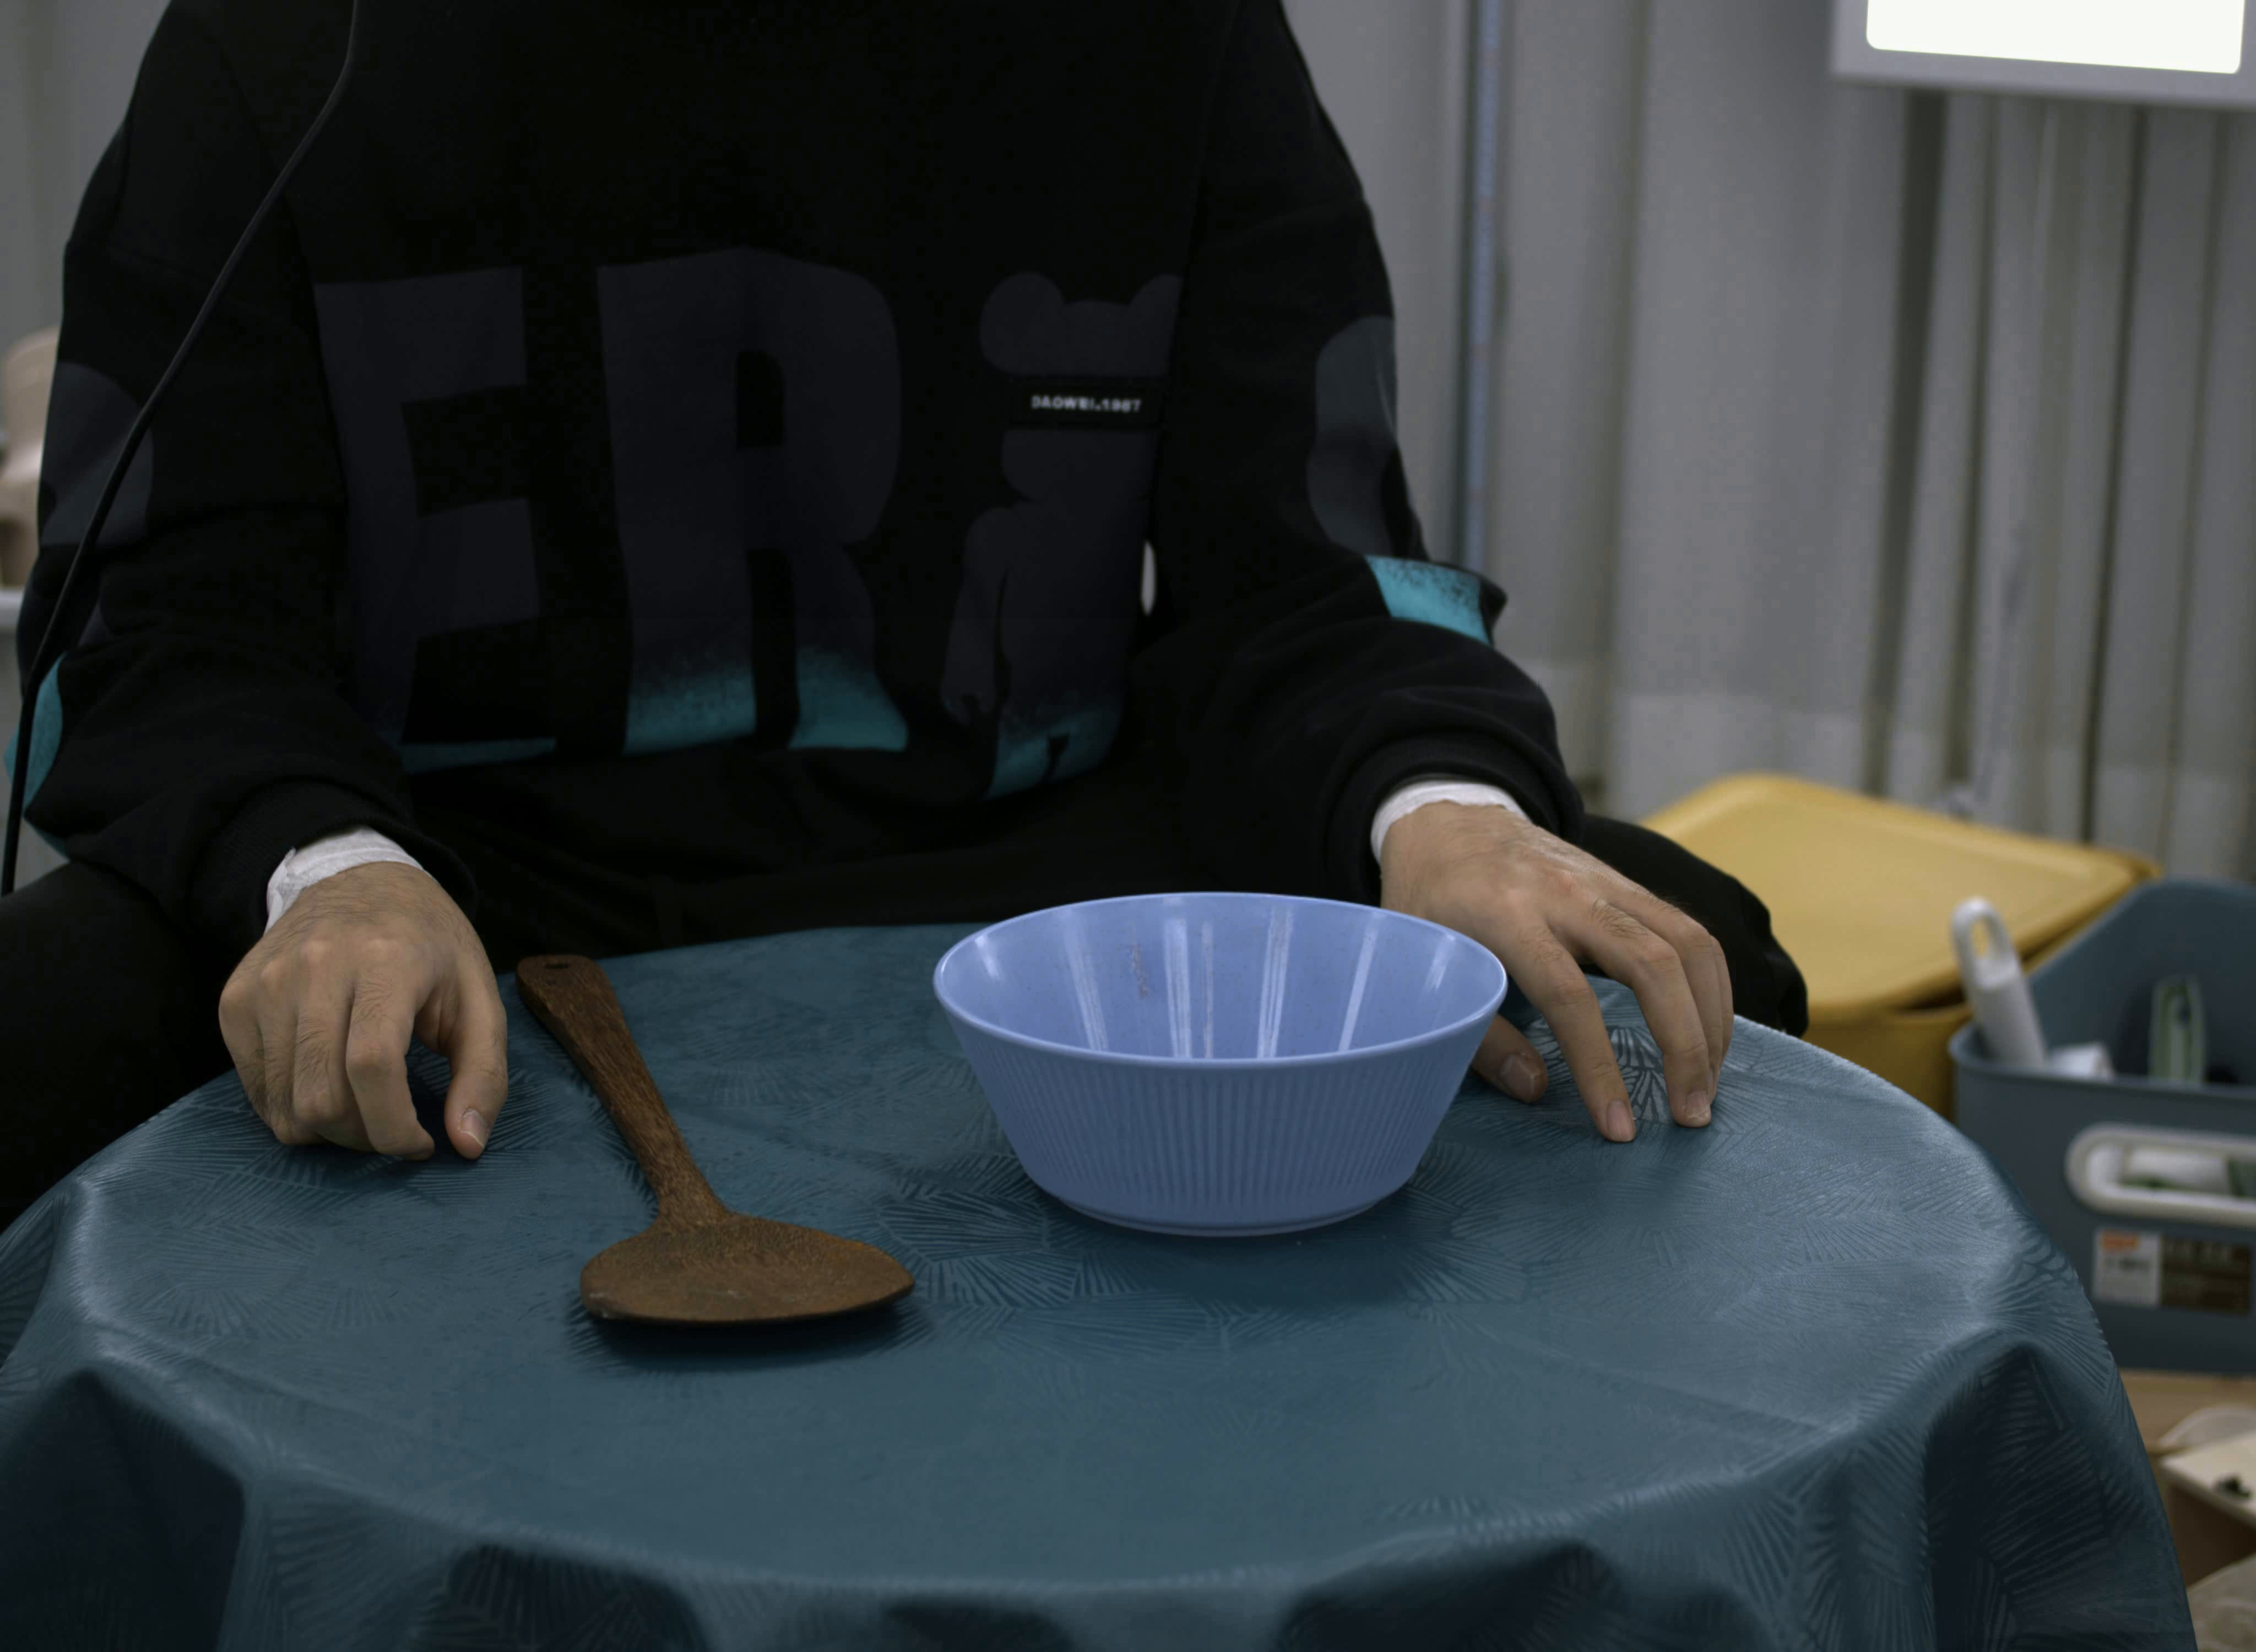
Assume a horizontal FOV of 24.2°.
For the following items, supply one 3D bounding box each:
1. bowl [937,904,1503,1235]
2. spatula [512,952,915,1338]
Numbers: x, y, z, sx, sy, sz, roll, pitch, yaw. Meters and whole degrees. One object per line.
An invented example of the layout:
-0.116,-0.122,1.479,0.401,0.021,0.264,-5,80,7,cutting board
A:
0.028,0.077,1.626,0.175,0.071,0.175,1,14,0,bowl
-0.152,0.094,1.660,0.096,0.016,0.382,-3,16,-15,spatula
